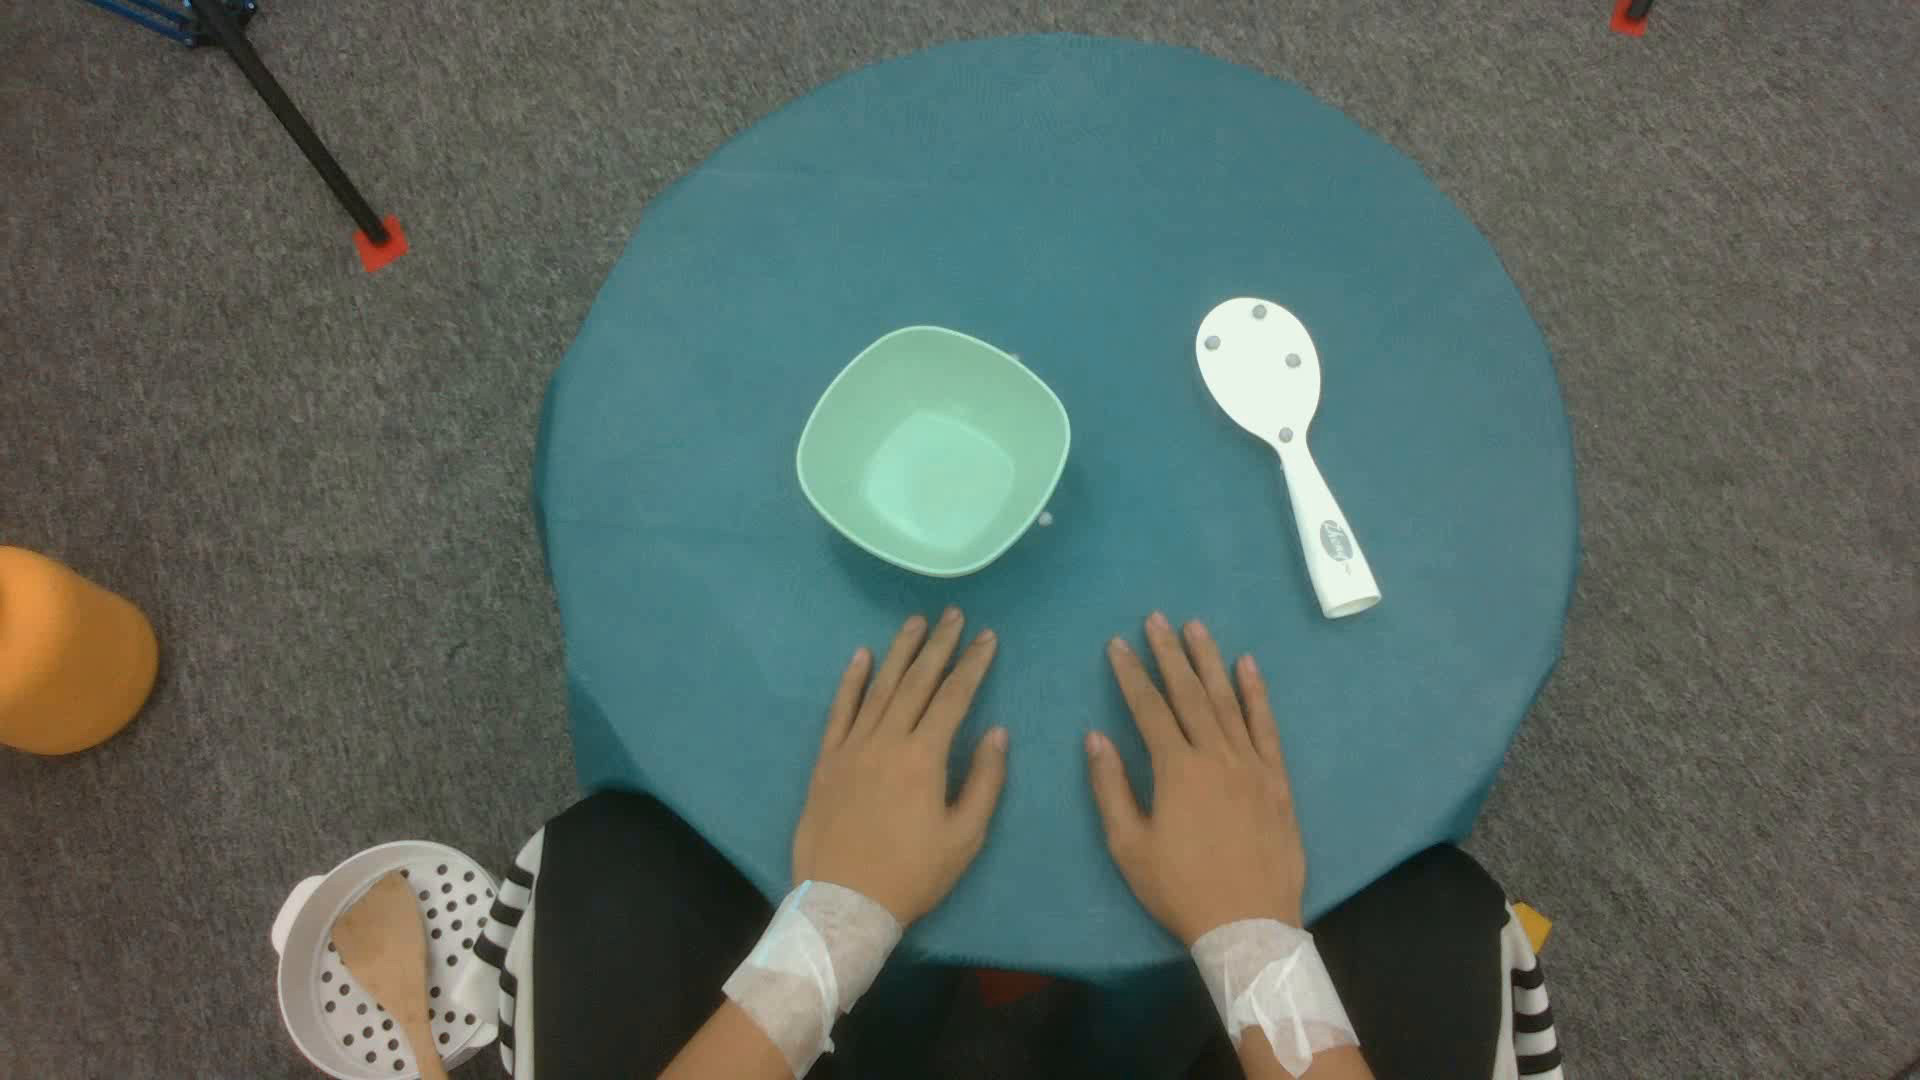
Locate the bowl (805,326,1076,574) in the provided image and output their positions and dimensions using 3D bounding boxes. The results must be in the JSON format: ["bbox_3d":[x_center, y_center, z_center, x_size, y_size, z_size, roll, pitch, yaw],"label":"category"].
[{"bbox_3d":[-0.011,-0.043,0.785,0.151,0.058,0.152,1,67,-1],"label":"bowl"}]

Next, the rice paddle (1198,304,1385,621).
[{"bbox_3d":[0.193,-0.053,0.798,0.069,0.029,0.206,-14,68,-5],"label":"rice paddle"}]
